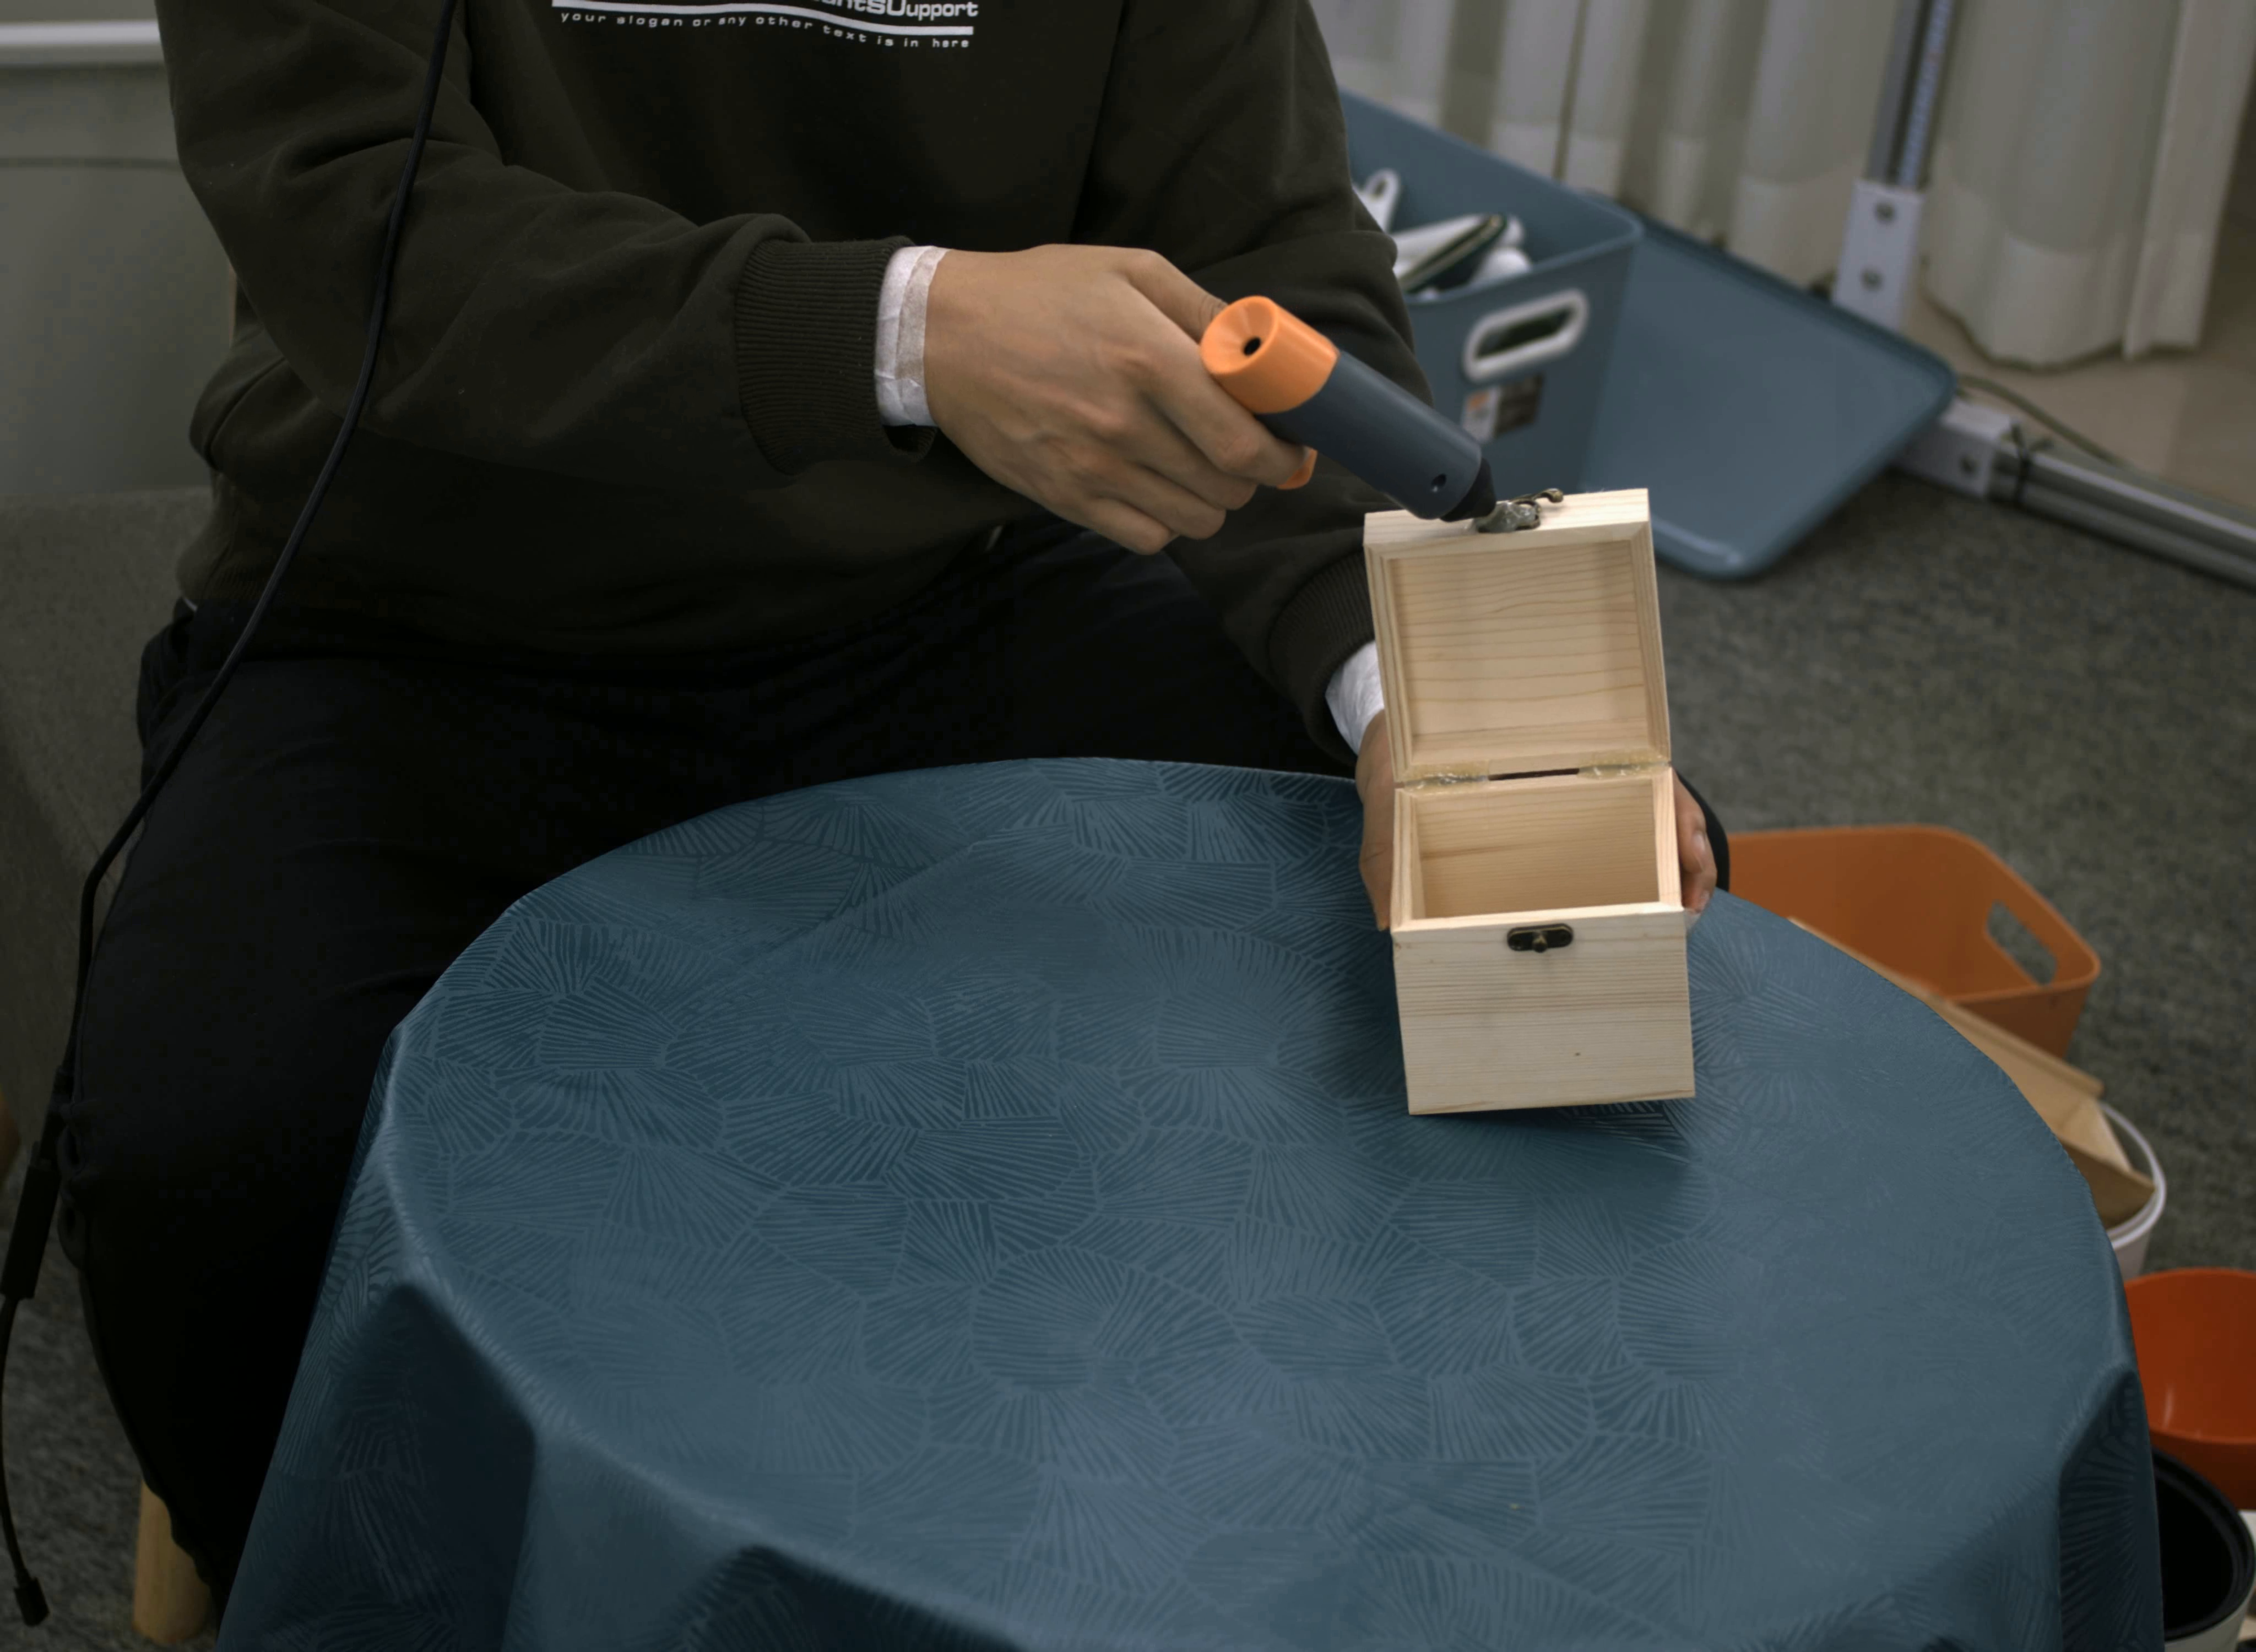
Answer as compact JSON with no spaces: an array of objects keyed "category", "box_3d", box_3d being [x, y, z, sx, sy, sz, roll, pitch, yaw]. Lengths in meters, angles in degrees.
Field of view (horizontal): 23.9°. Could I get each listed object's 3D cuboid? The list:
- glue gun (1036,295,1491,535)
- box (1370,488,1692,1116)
[{"category":"glue gun","box_3d":[0.047,-0.136,1.868,0.140,0.117,0.041,-5,54,38]},{"category":"box","box_3d":[0.142,-0.009,1.878,0.102,0.183,0.135,-4,29,6]}]
